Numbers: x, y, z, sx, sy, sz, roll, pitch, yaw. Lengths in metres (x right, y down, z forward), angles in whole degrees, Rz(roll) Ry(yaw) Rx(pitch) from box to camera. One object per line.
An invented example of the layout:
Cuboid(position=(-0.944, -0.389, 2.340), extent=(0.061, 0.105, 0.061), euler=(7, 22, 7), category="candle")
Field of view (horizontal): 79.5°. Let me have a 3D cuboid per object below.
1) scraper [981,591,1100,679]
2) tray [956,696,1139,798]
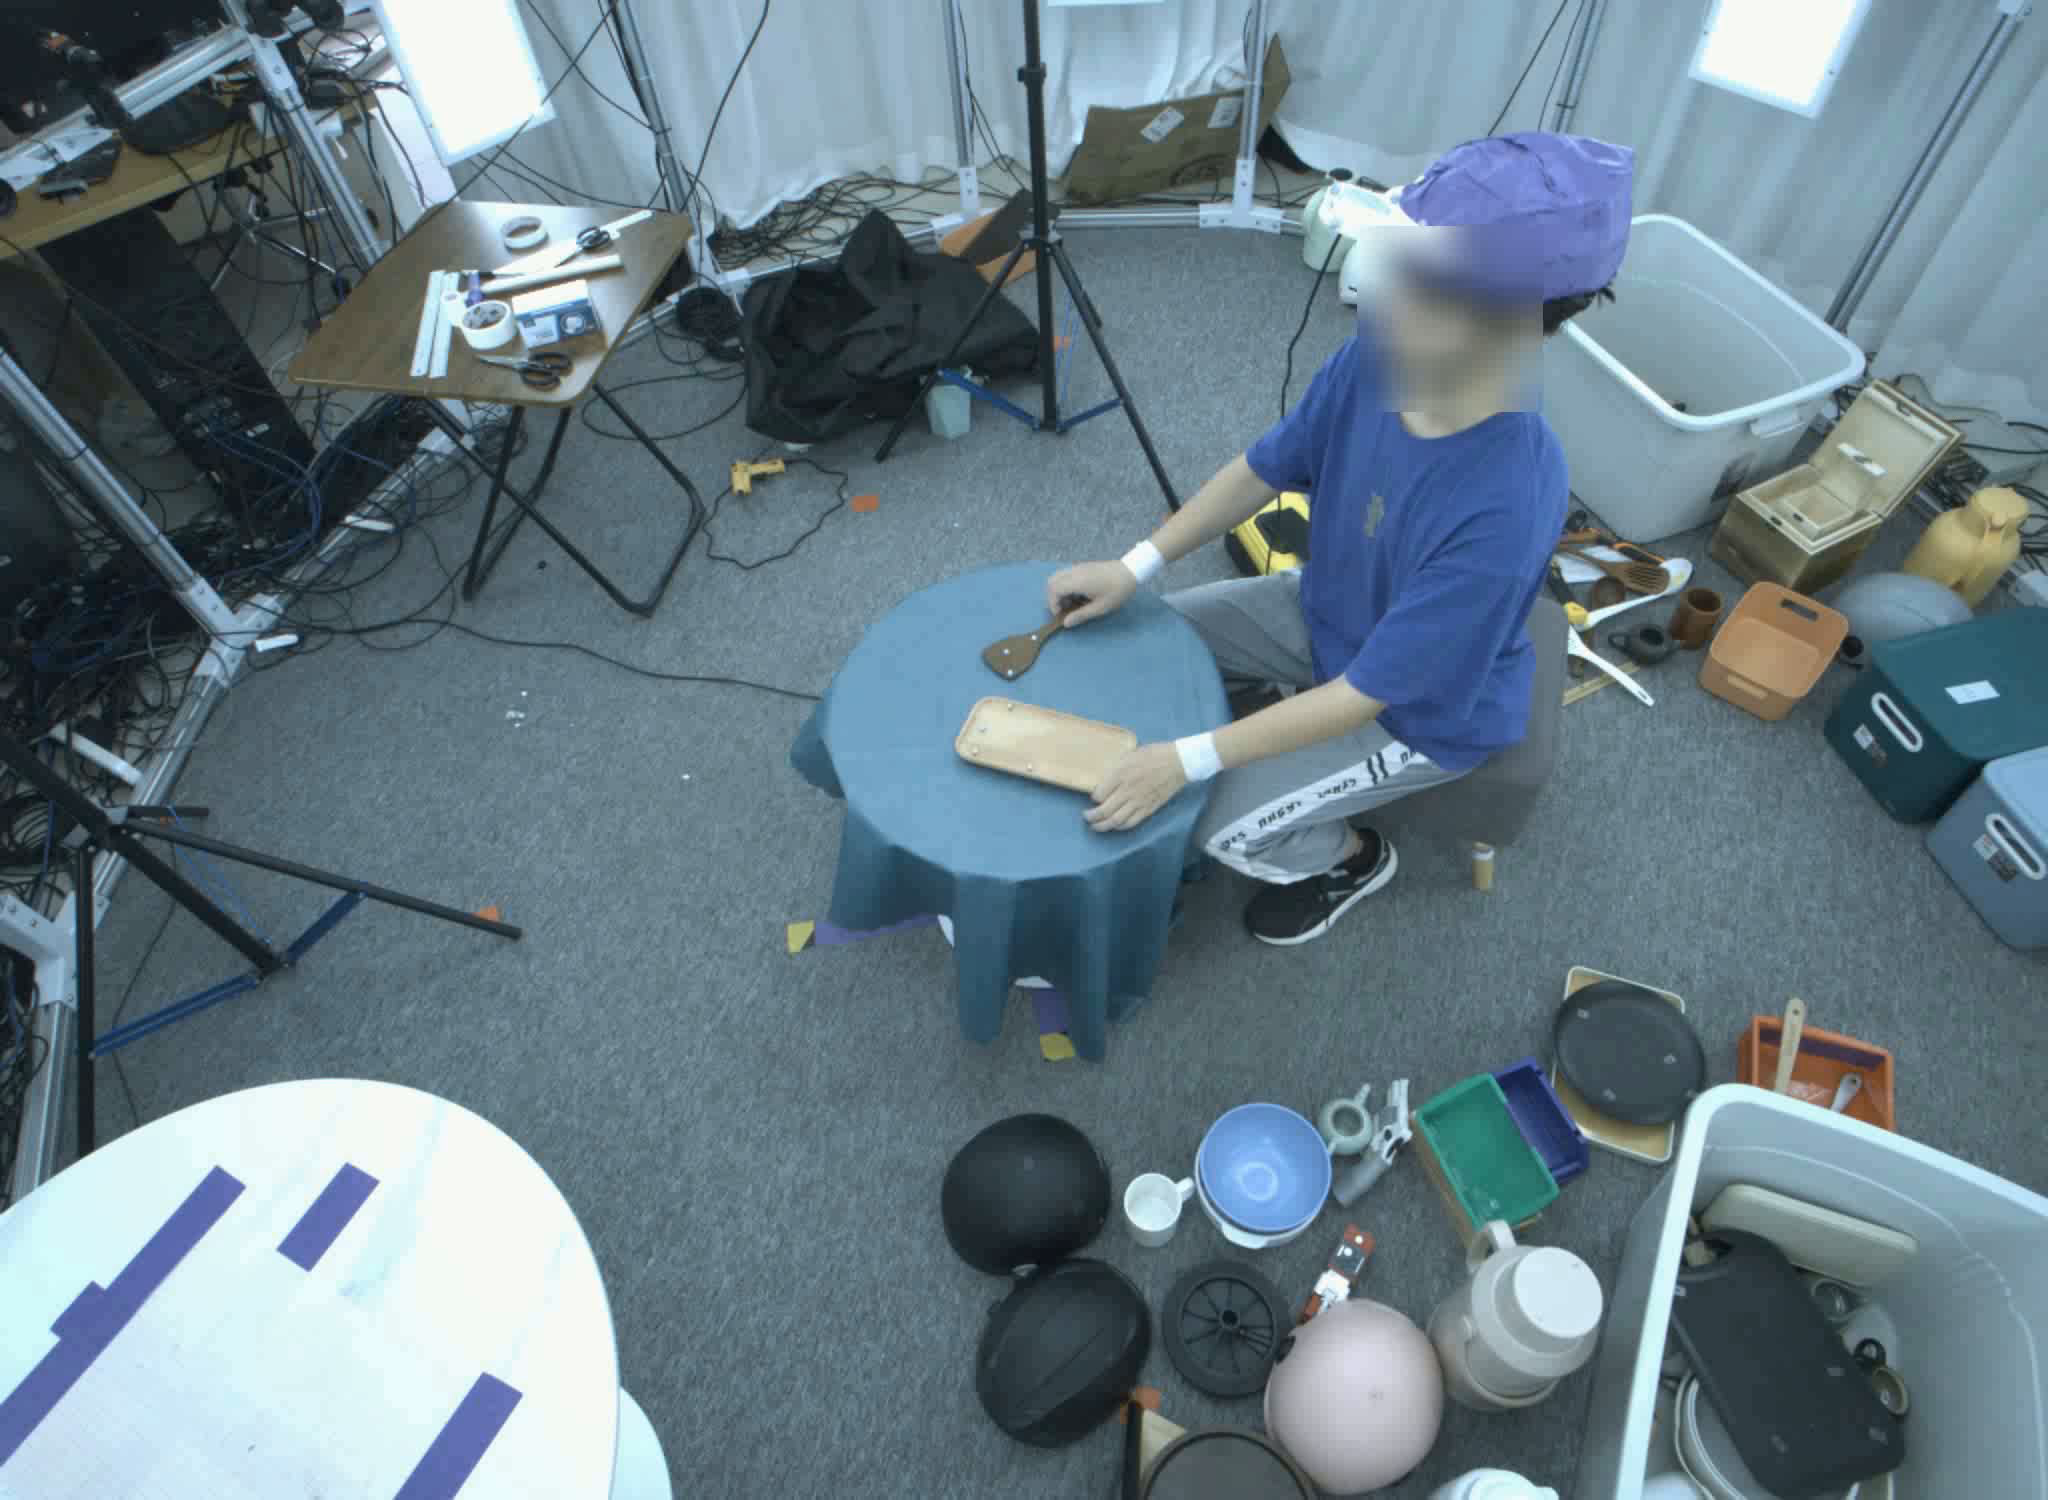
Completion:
Cuboid(position=(0.032, -0.183, 1.897), extent=(0.212, 0.011, 0.074), euler=(-37, 64, -18), category="scraper")
Cuboid(position=(0.033, -0.005, 1.765), extent=(0.248, 0.023, 0.130), euler=(16, 55, 13), category="tray")
